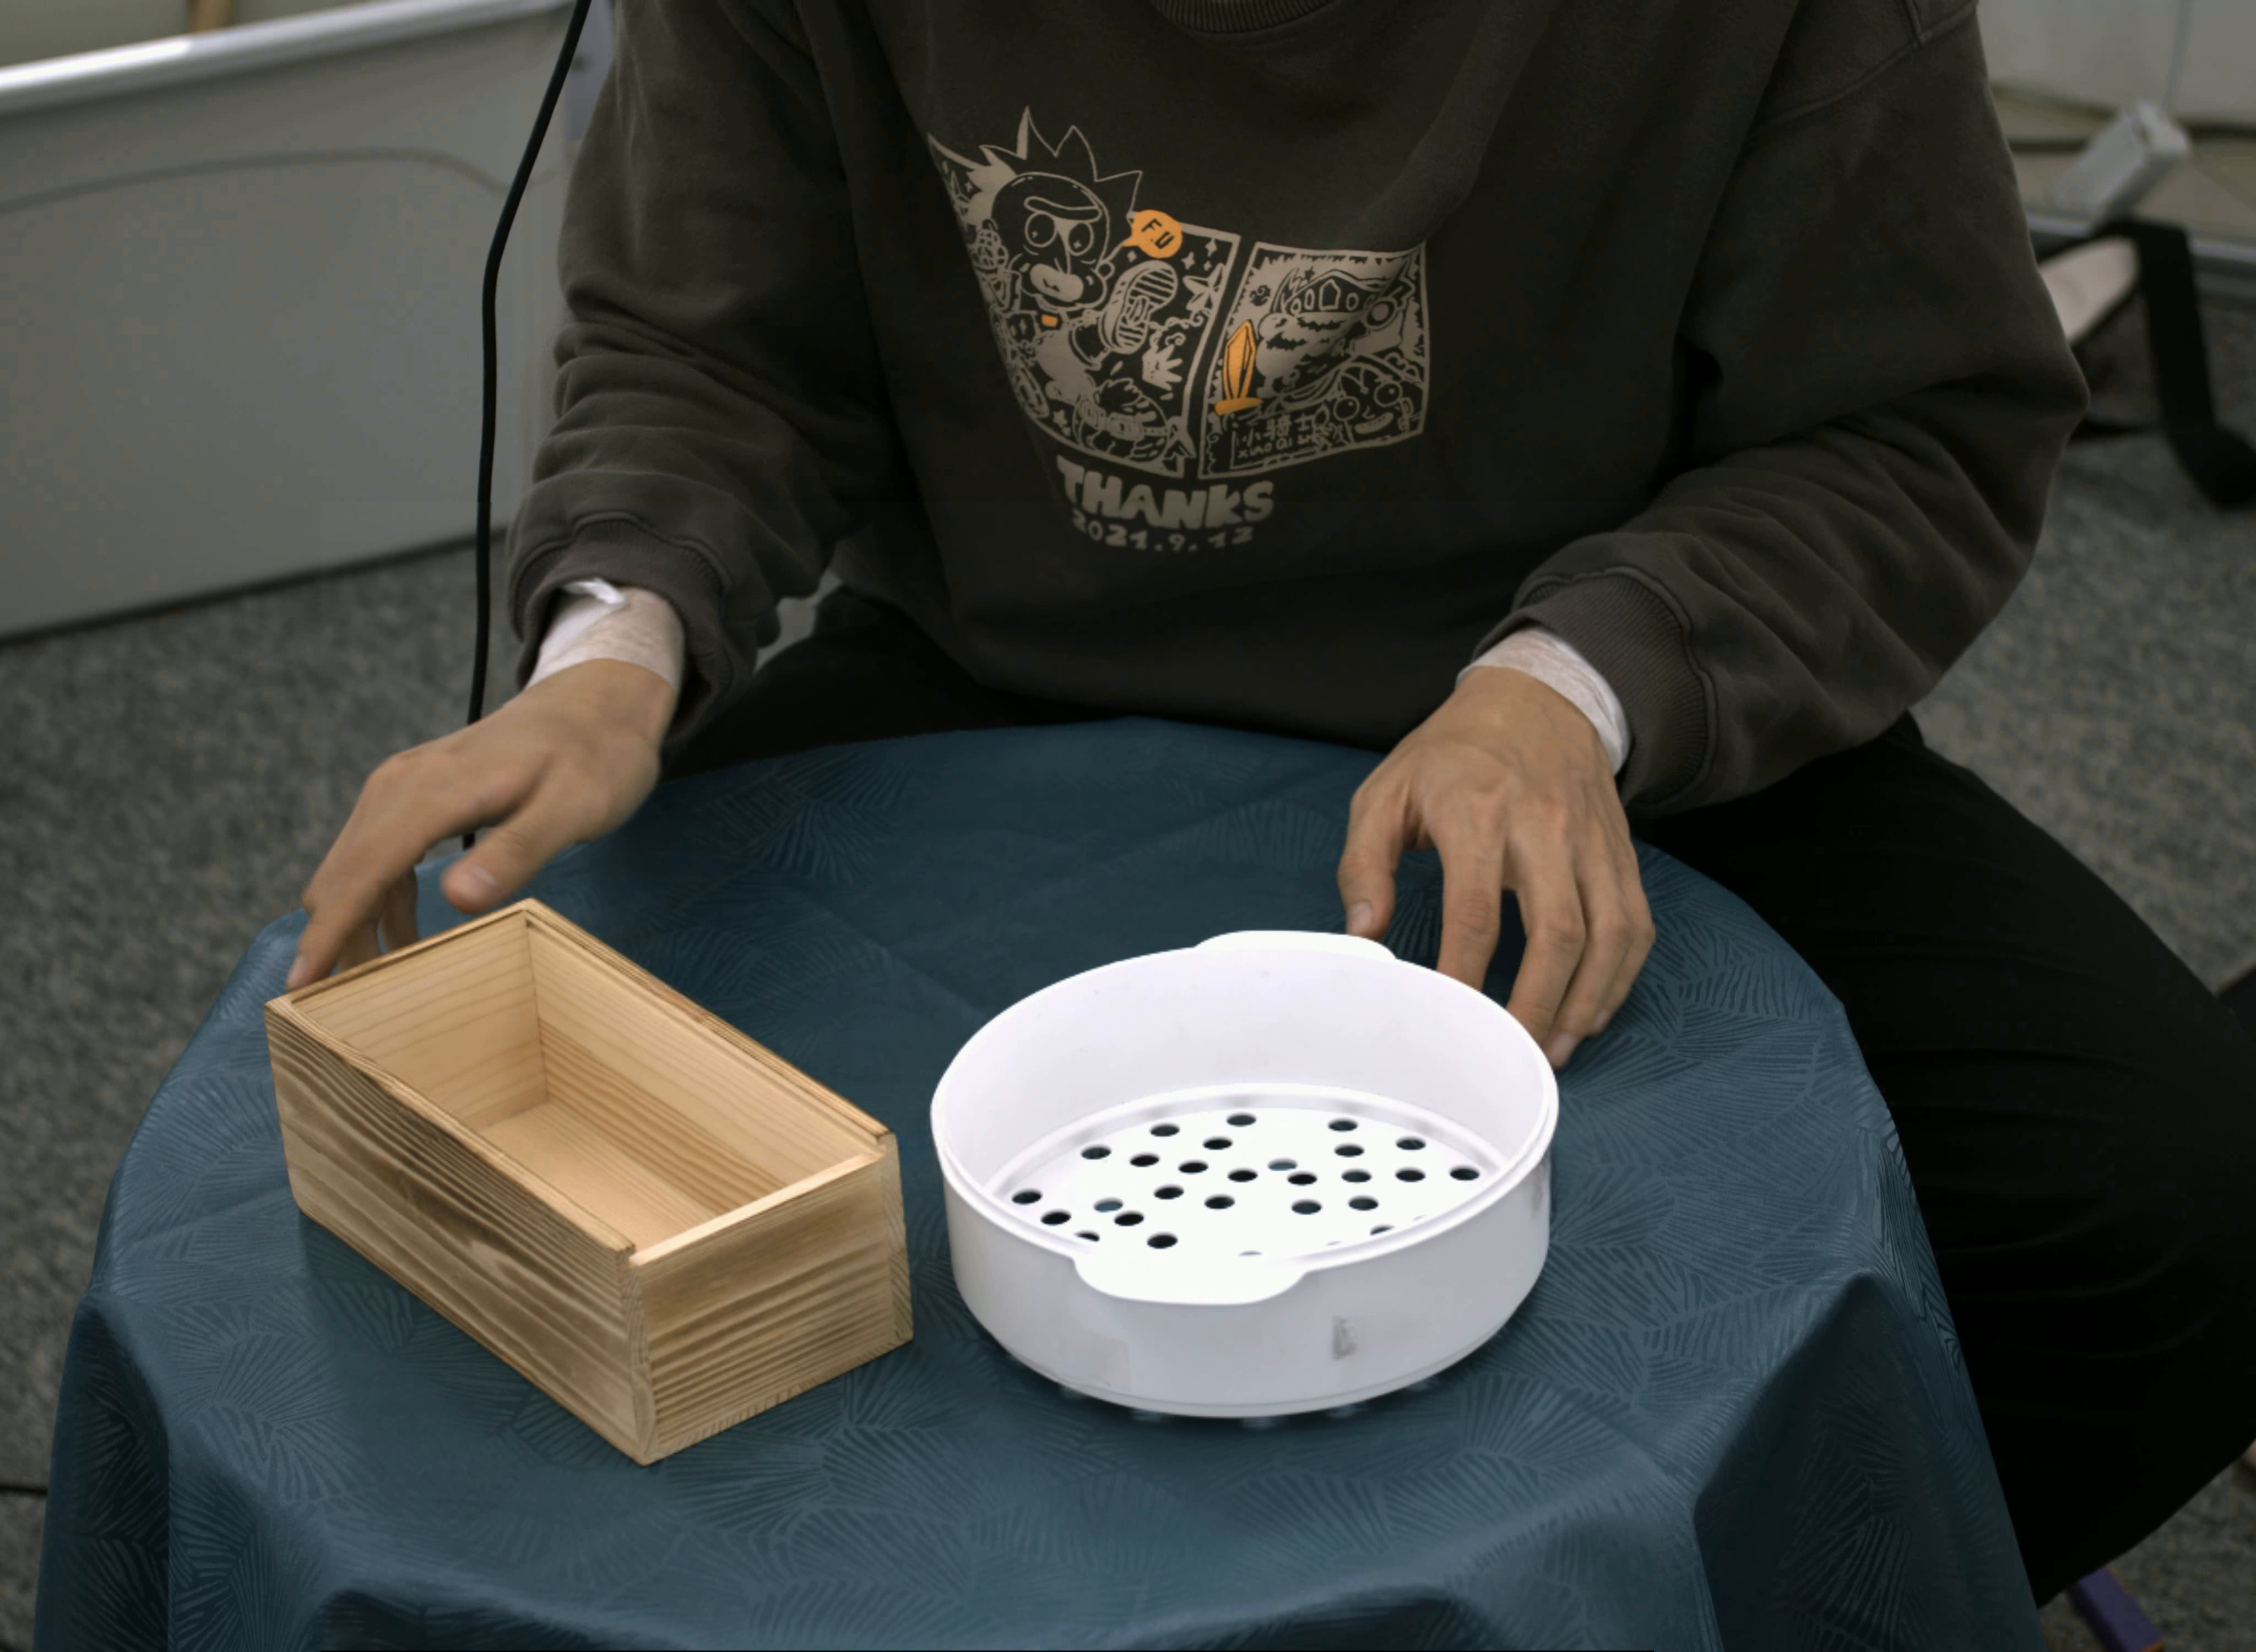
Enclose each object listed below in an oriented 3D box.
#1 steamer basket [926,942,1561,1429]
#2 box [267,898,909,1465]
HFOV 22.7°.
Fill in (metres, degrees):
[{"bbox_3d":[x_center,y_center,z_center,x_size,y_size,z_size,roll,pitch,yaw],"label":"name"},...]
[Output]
[{"bbox_3d":[0.037,0.116,1.795,0.200,0.068,0.234,3,27,11],"label":"steamer basket"},{"bbox_3d":[-0.176,0.111,1.813,0.108,0.079,0.211,-22,33,-33],"label":"box"}]
